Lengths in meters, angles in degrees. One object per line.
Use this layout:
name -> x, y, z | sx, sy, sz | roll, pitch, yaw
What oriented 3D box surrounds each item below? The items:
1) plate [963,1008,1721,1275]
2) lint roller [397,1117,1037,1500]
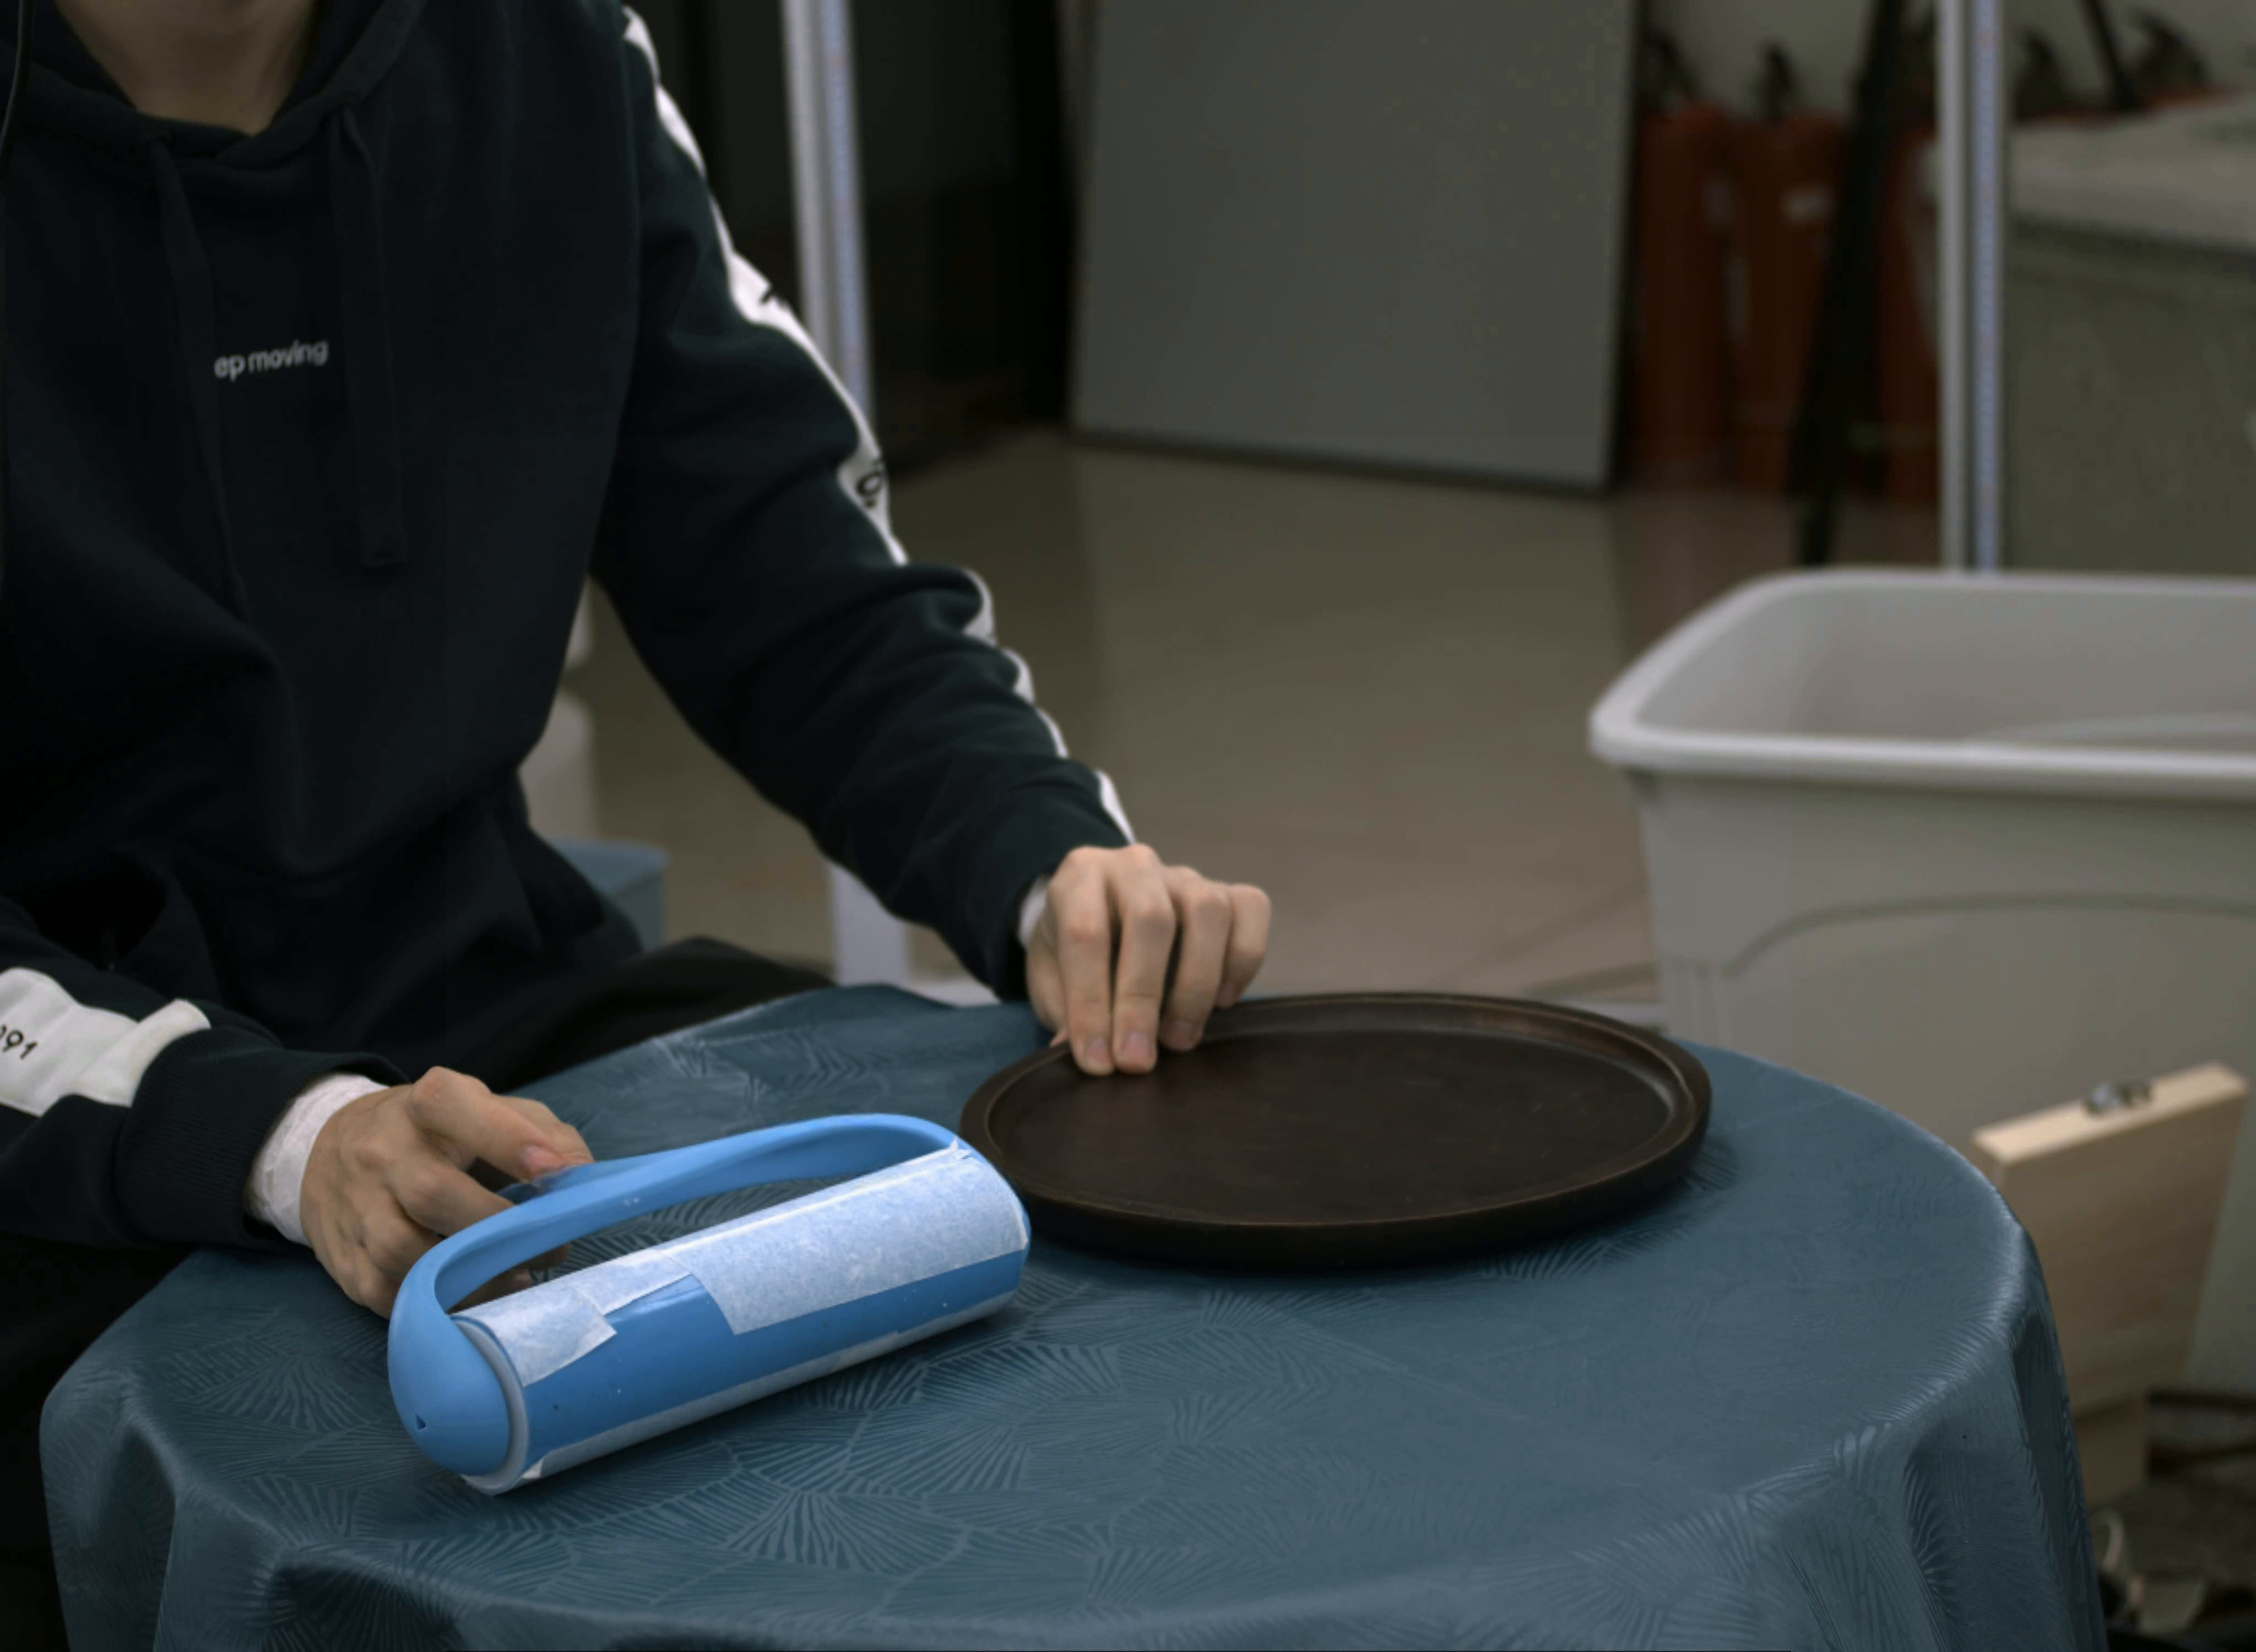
plate -> 0.070, 0.102, 1.782 | 0.251, 0.029, 0.255 | -3, 13, 0
lint roller -> -0.157, 0.136, 1.638 | 0.182, 0.068, 0.224 | 10, 21, 44
